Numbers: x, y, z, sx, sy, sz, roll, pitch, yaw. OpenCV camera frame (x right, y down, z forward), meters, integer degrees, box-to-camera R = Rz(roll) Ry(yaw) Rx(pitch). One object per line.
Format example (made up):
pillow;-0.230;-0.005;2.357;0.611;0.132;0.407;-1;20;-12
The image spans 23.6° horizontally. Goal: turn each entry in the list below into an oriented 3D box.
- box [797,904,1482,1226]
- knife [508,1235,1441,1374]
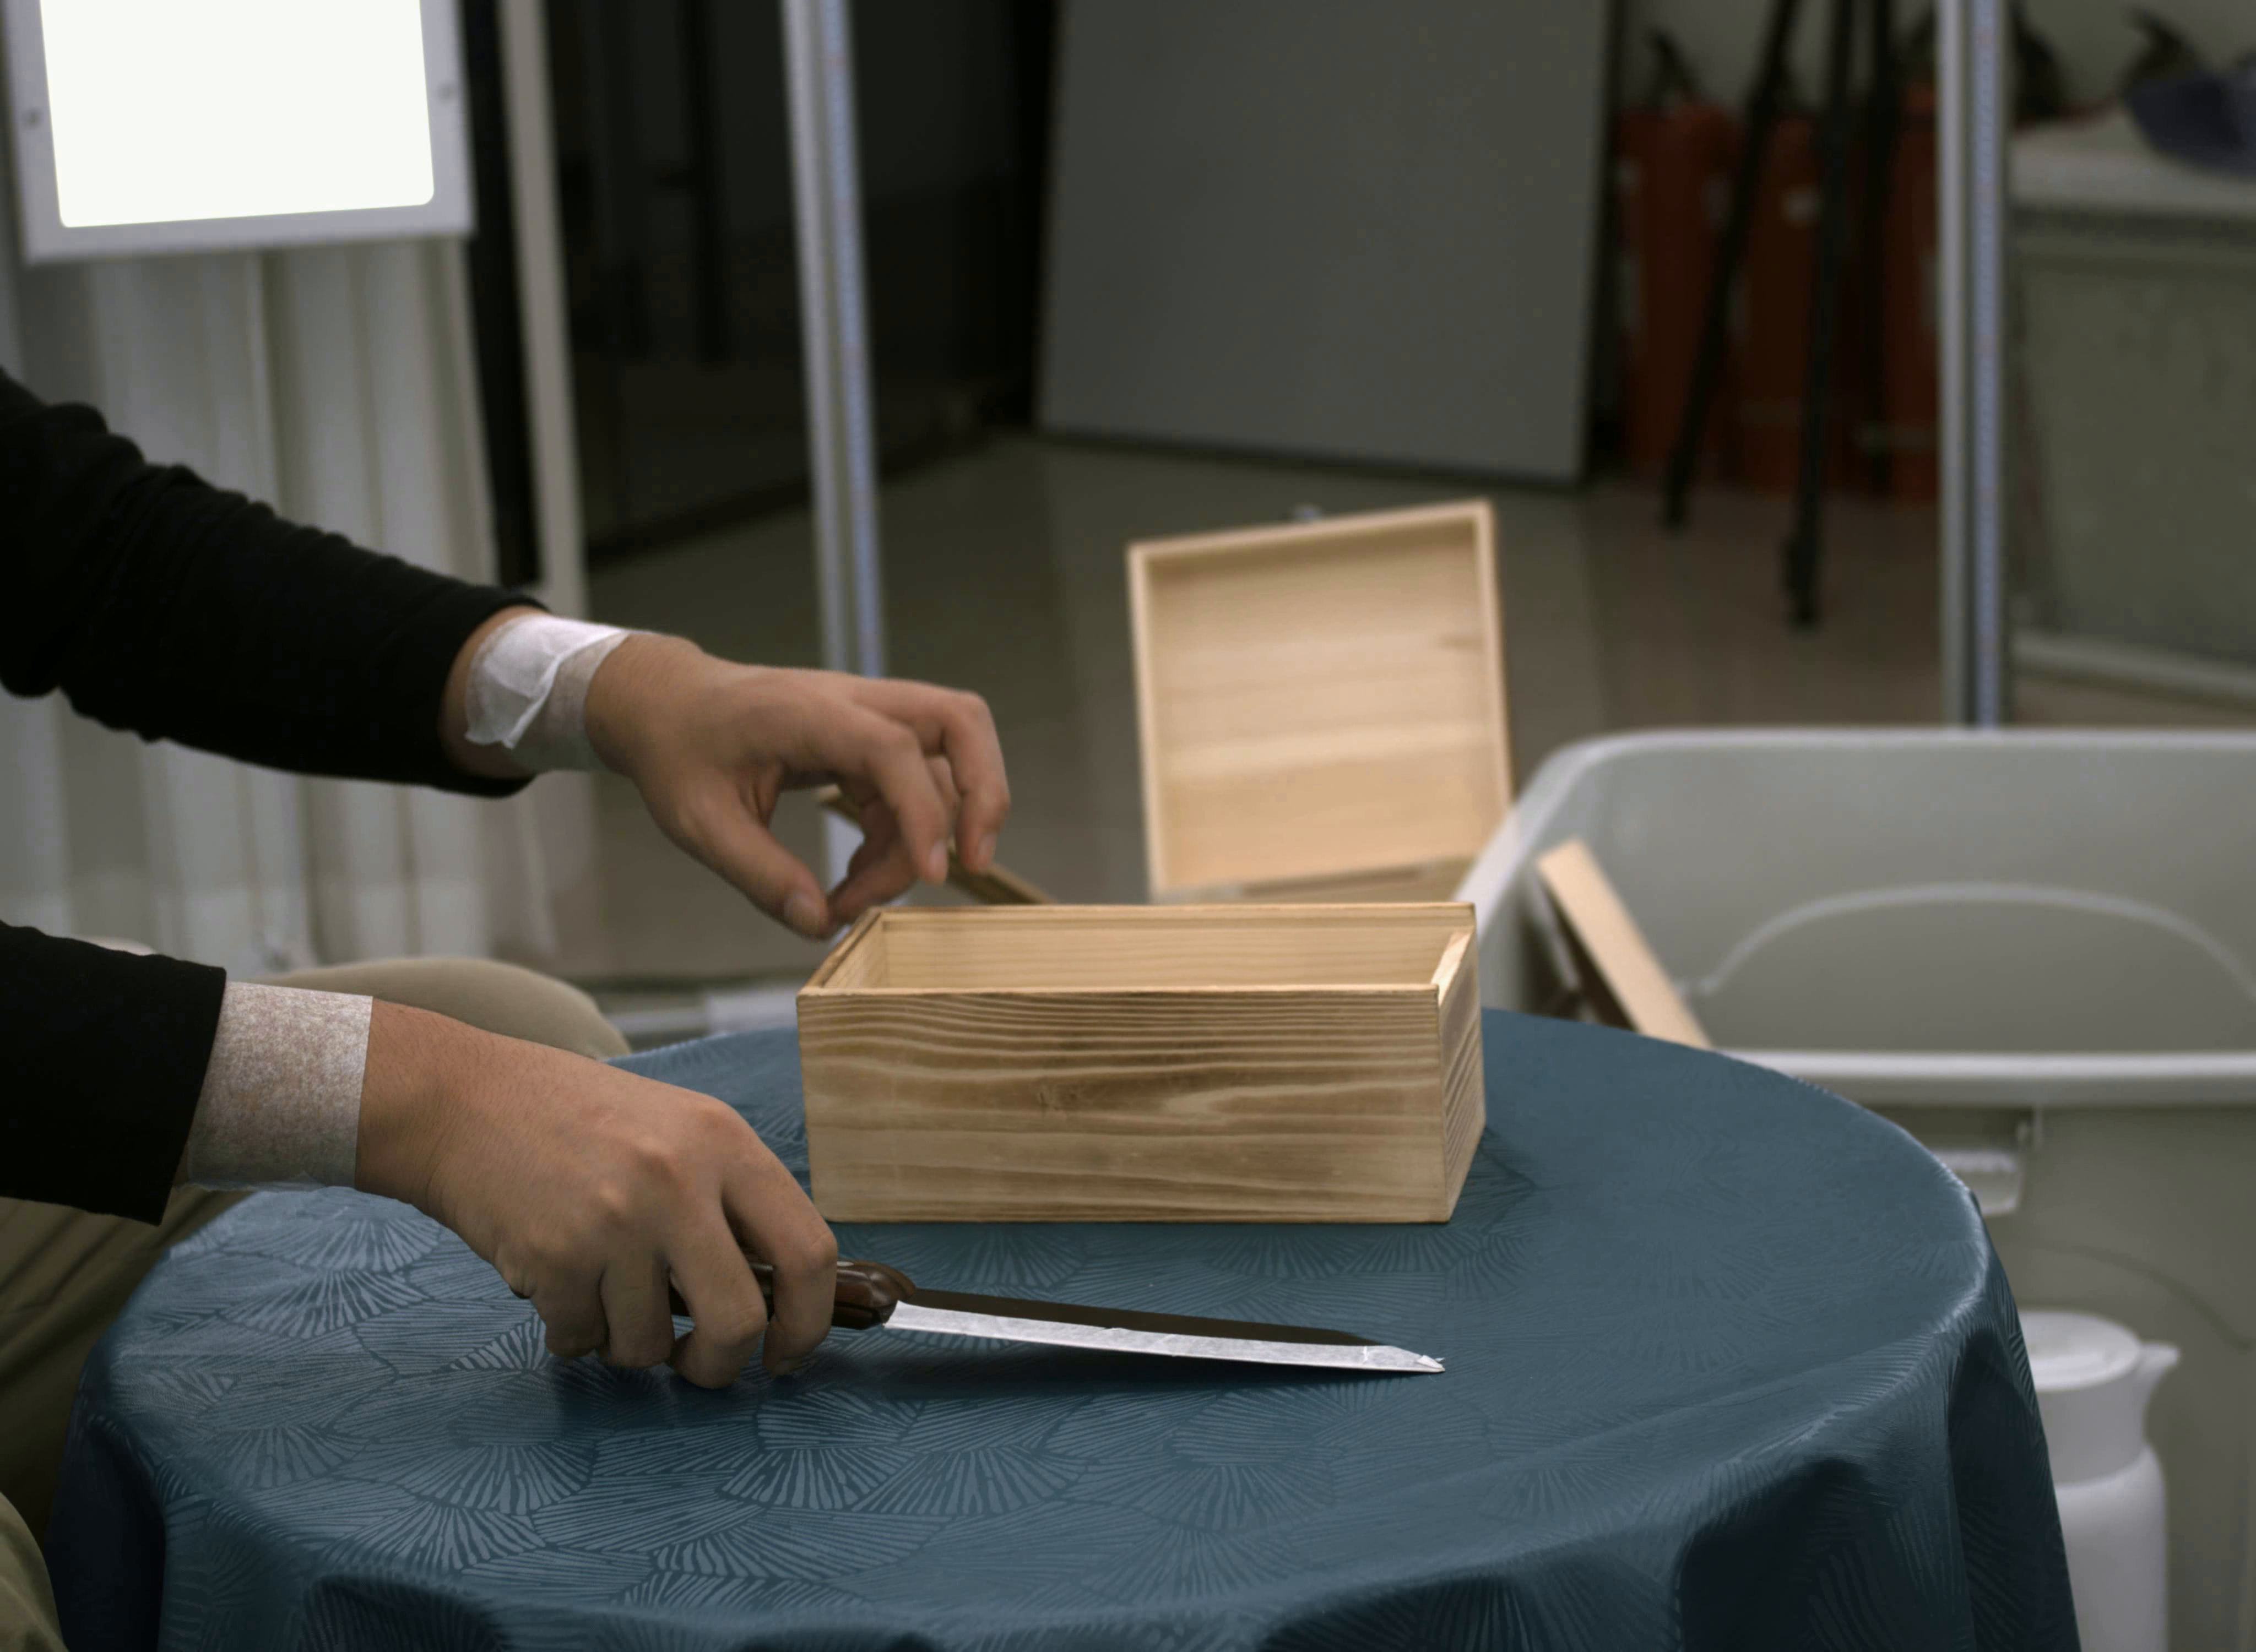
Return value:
box;0.006;0.078;1.778;0.210;0.081;0.107;-1;13;12
knife;-0.048;0.146;1.610;0.287;0.020;0.050;5;12;9
